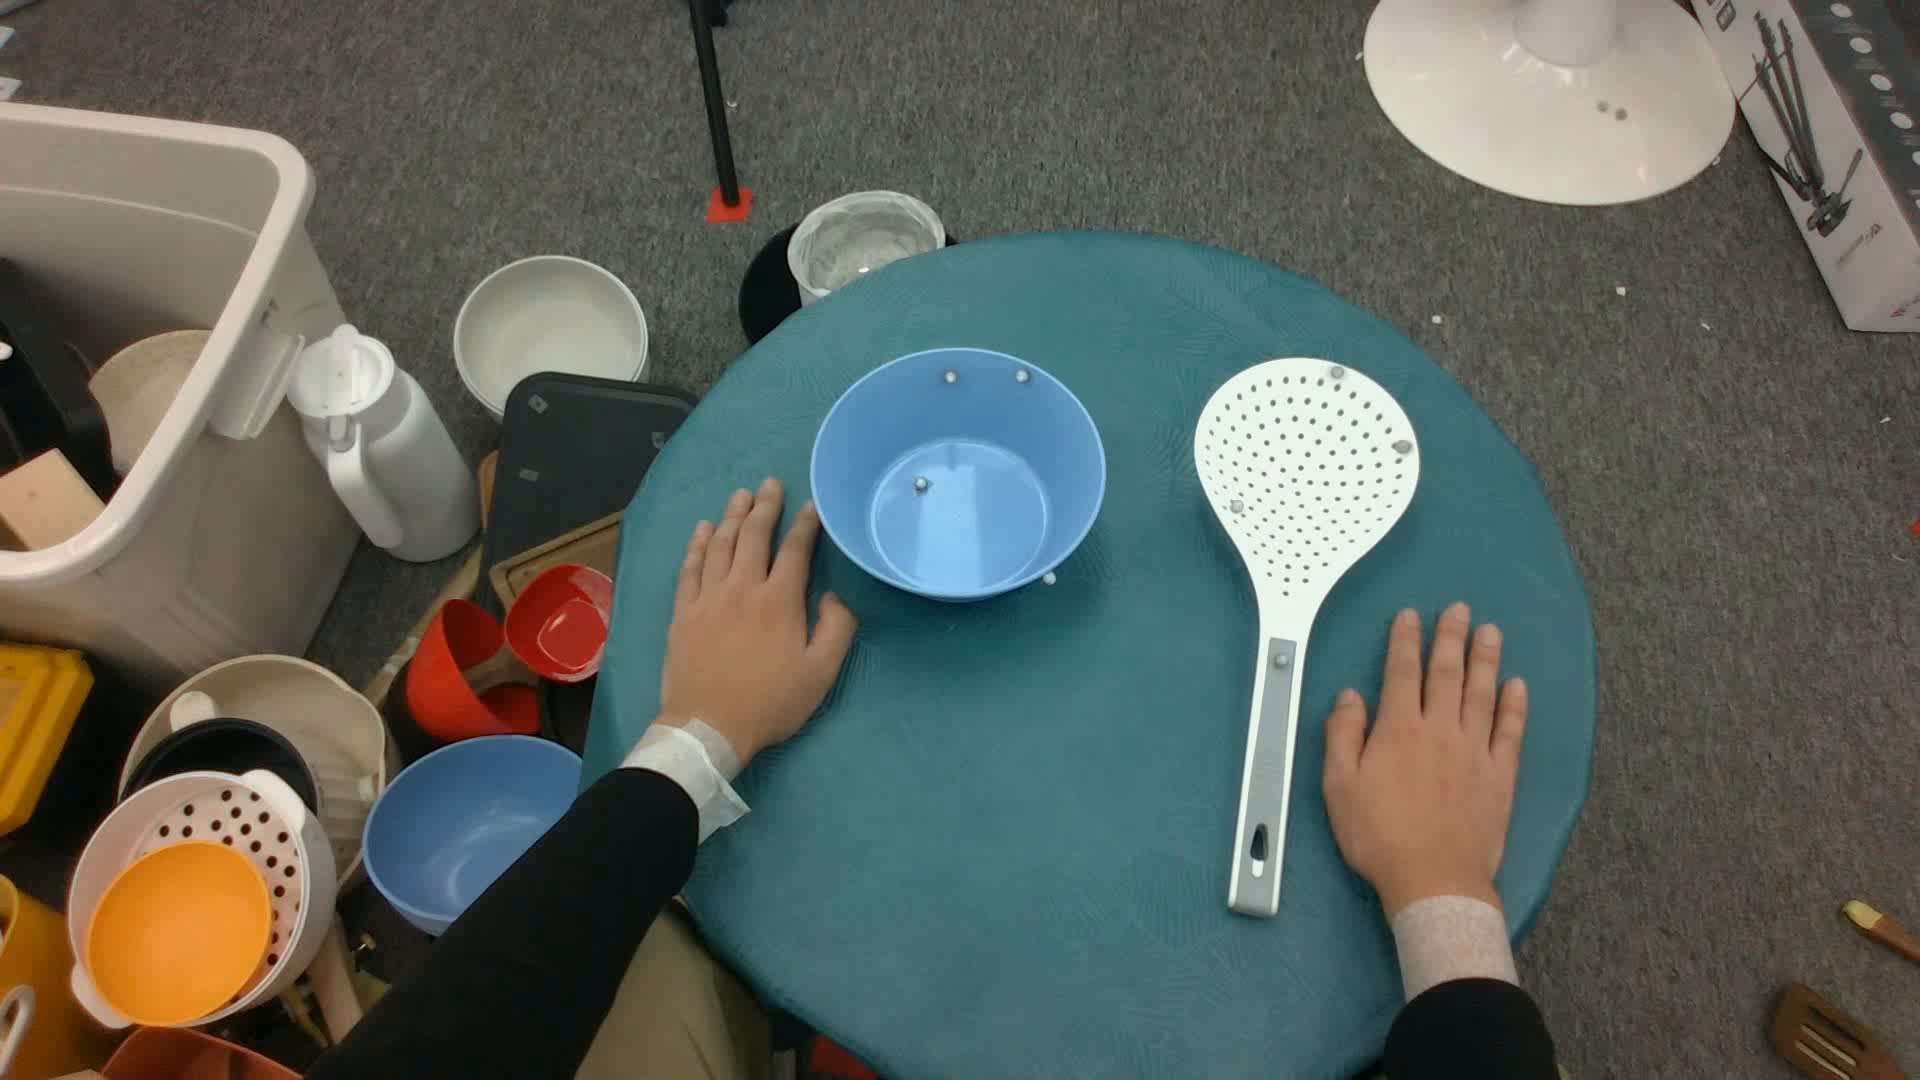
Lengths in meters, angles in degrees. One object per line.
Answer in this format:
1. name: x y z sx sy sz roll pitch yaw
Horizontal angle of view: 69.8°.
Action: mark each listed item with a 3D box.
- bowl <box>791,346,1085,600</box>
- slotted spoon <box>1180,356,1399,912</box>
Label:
1. bowl: -0.013 -0.030 0.843 0.176 0.070 0.177 0 61 0
2. slotted spoon: 0.184 0.044 0.819 0.136 0.045 0.351 10 62 5
